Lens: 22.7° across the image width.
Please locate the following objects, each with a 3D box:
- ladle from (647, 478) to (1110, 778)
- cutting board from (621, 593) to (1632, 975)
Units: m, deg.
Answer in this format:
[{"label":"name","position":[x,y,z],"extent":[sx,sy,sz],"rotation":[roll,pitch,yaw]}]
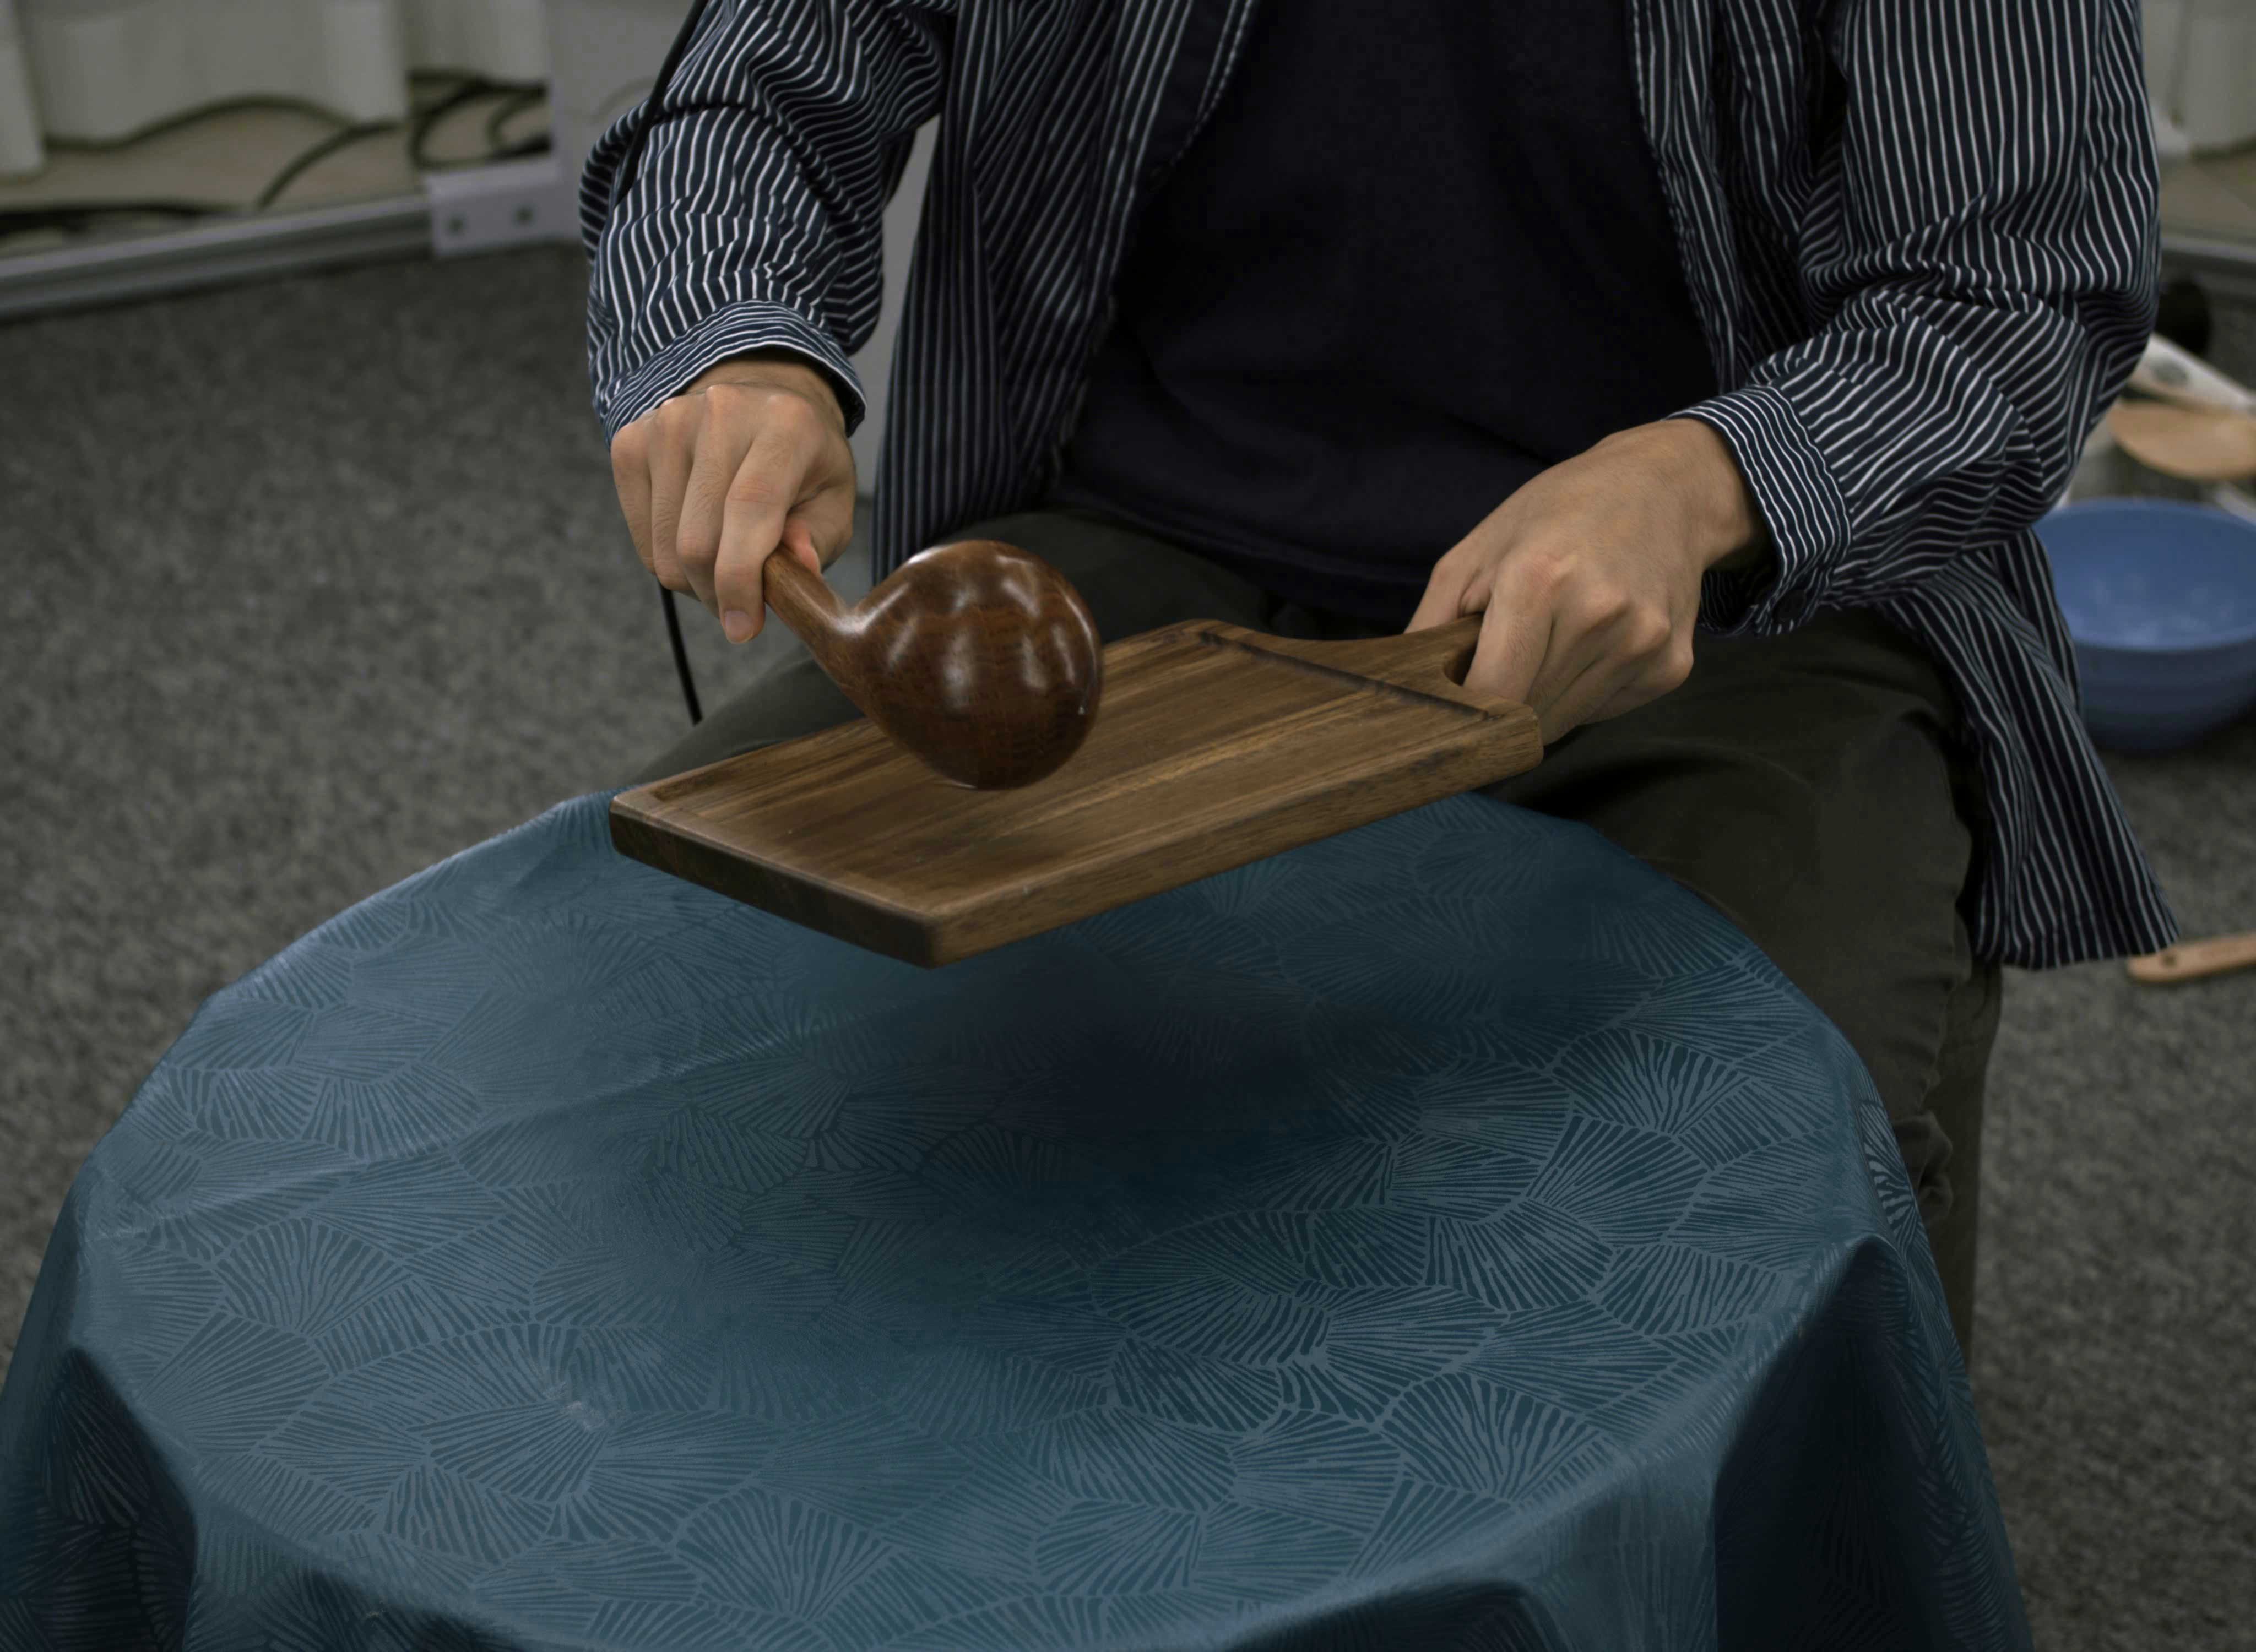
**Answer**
[{"label":"ladle","position":[-0.085,-0.081,1.863],"extent":[0.076,0.081,0.275],"rotation":[2,13,-22]},{"label":"cutting board","position":[0.028,-0.025,1.861],"extent":[0.355,0.023,0.200],"rotation":[-18,20,-31]}]
